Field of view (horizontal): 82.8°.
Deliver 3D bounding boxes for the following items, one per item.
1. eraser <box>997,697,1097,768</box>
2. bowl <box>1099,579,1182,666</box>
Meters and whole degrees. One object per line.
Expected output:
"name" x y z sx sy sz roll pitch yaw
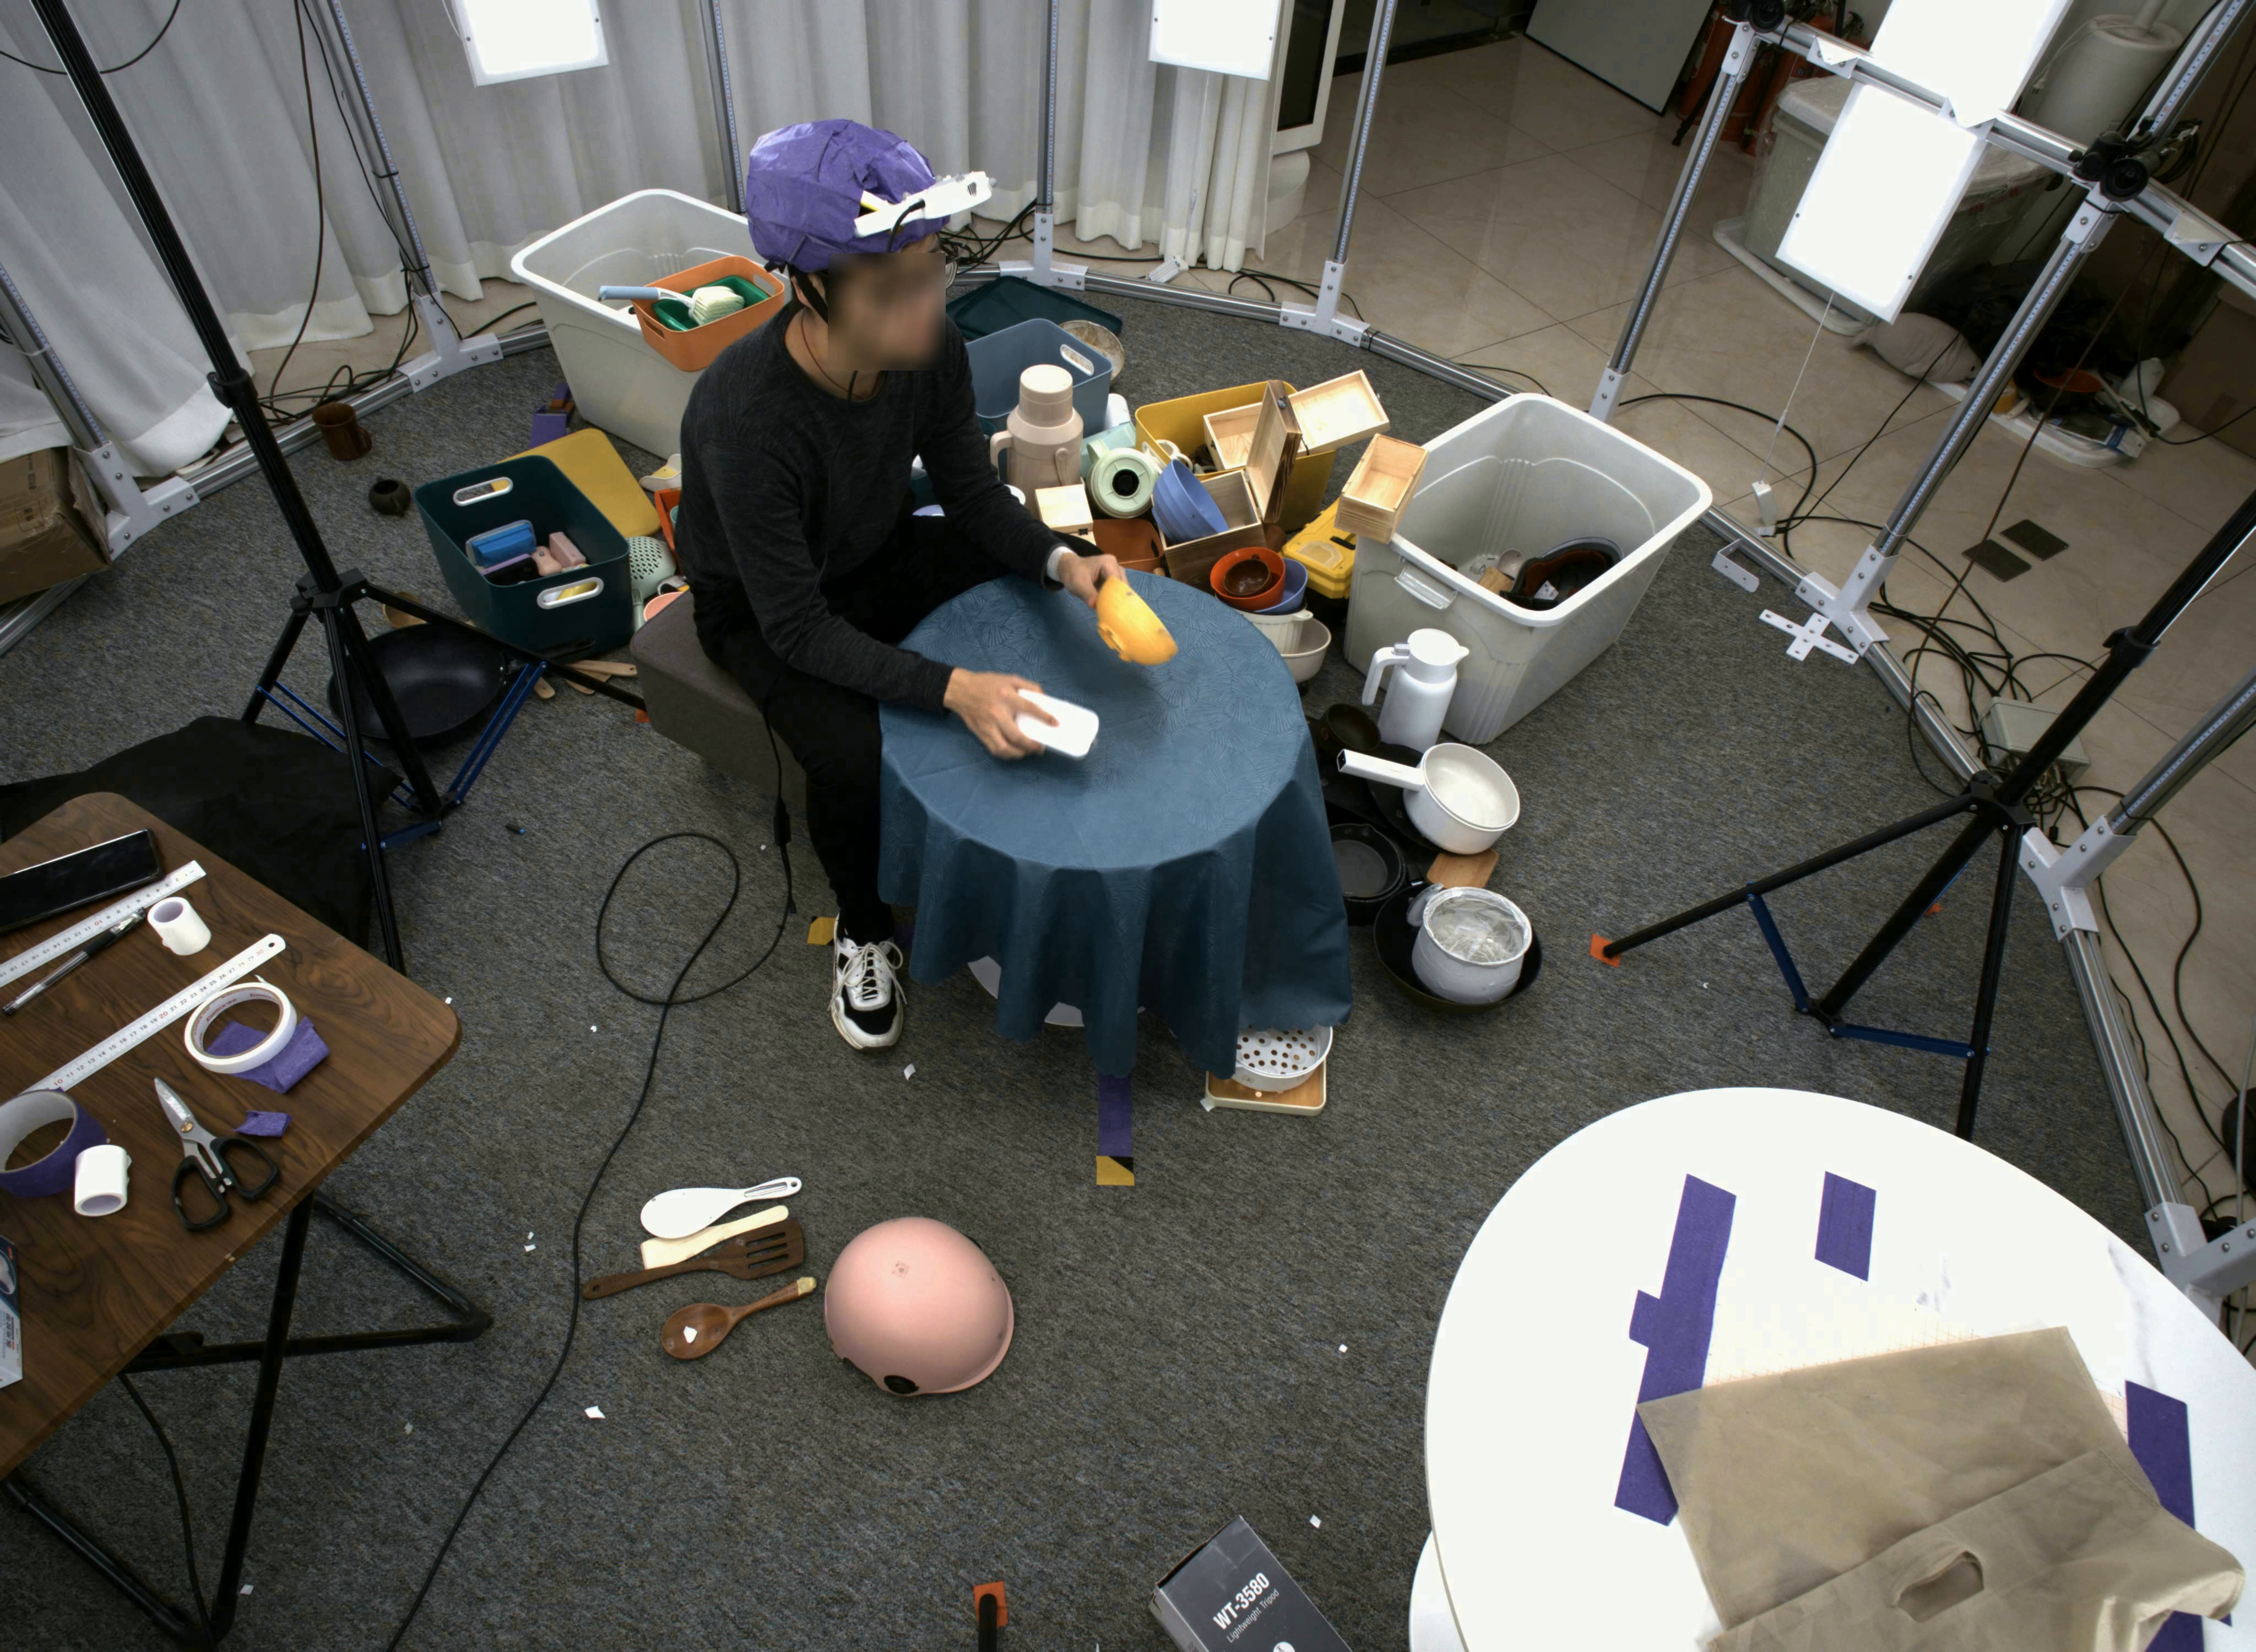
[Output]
"eraser" -0.108 -0.127 1.718 0.132 0.034 0.064 23 68 15
"bowl" 0.005 -0.270 1.783 0.060 0.142 0.148 -44 61 -2
